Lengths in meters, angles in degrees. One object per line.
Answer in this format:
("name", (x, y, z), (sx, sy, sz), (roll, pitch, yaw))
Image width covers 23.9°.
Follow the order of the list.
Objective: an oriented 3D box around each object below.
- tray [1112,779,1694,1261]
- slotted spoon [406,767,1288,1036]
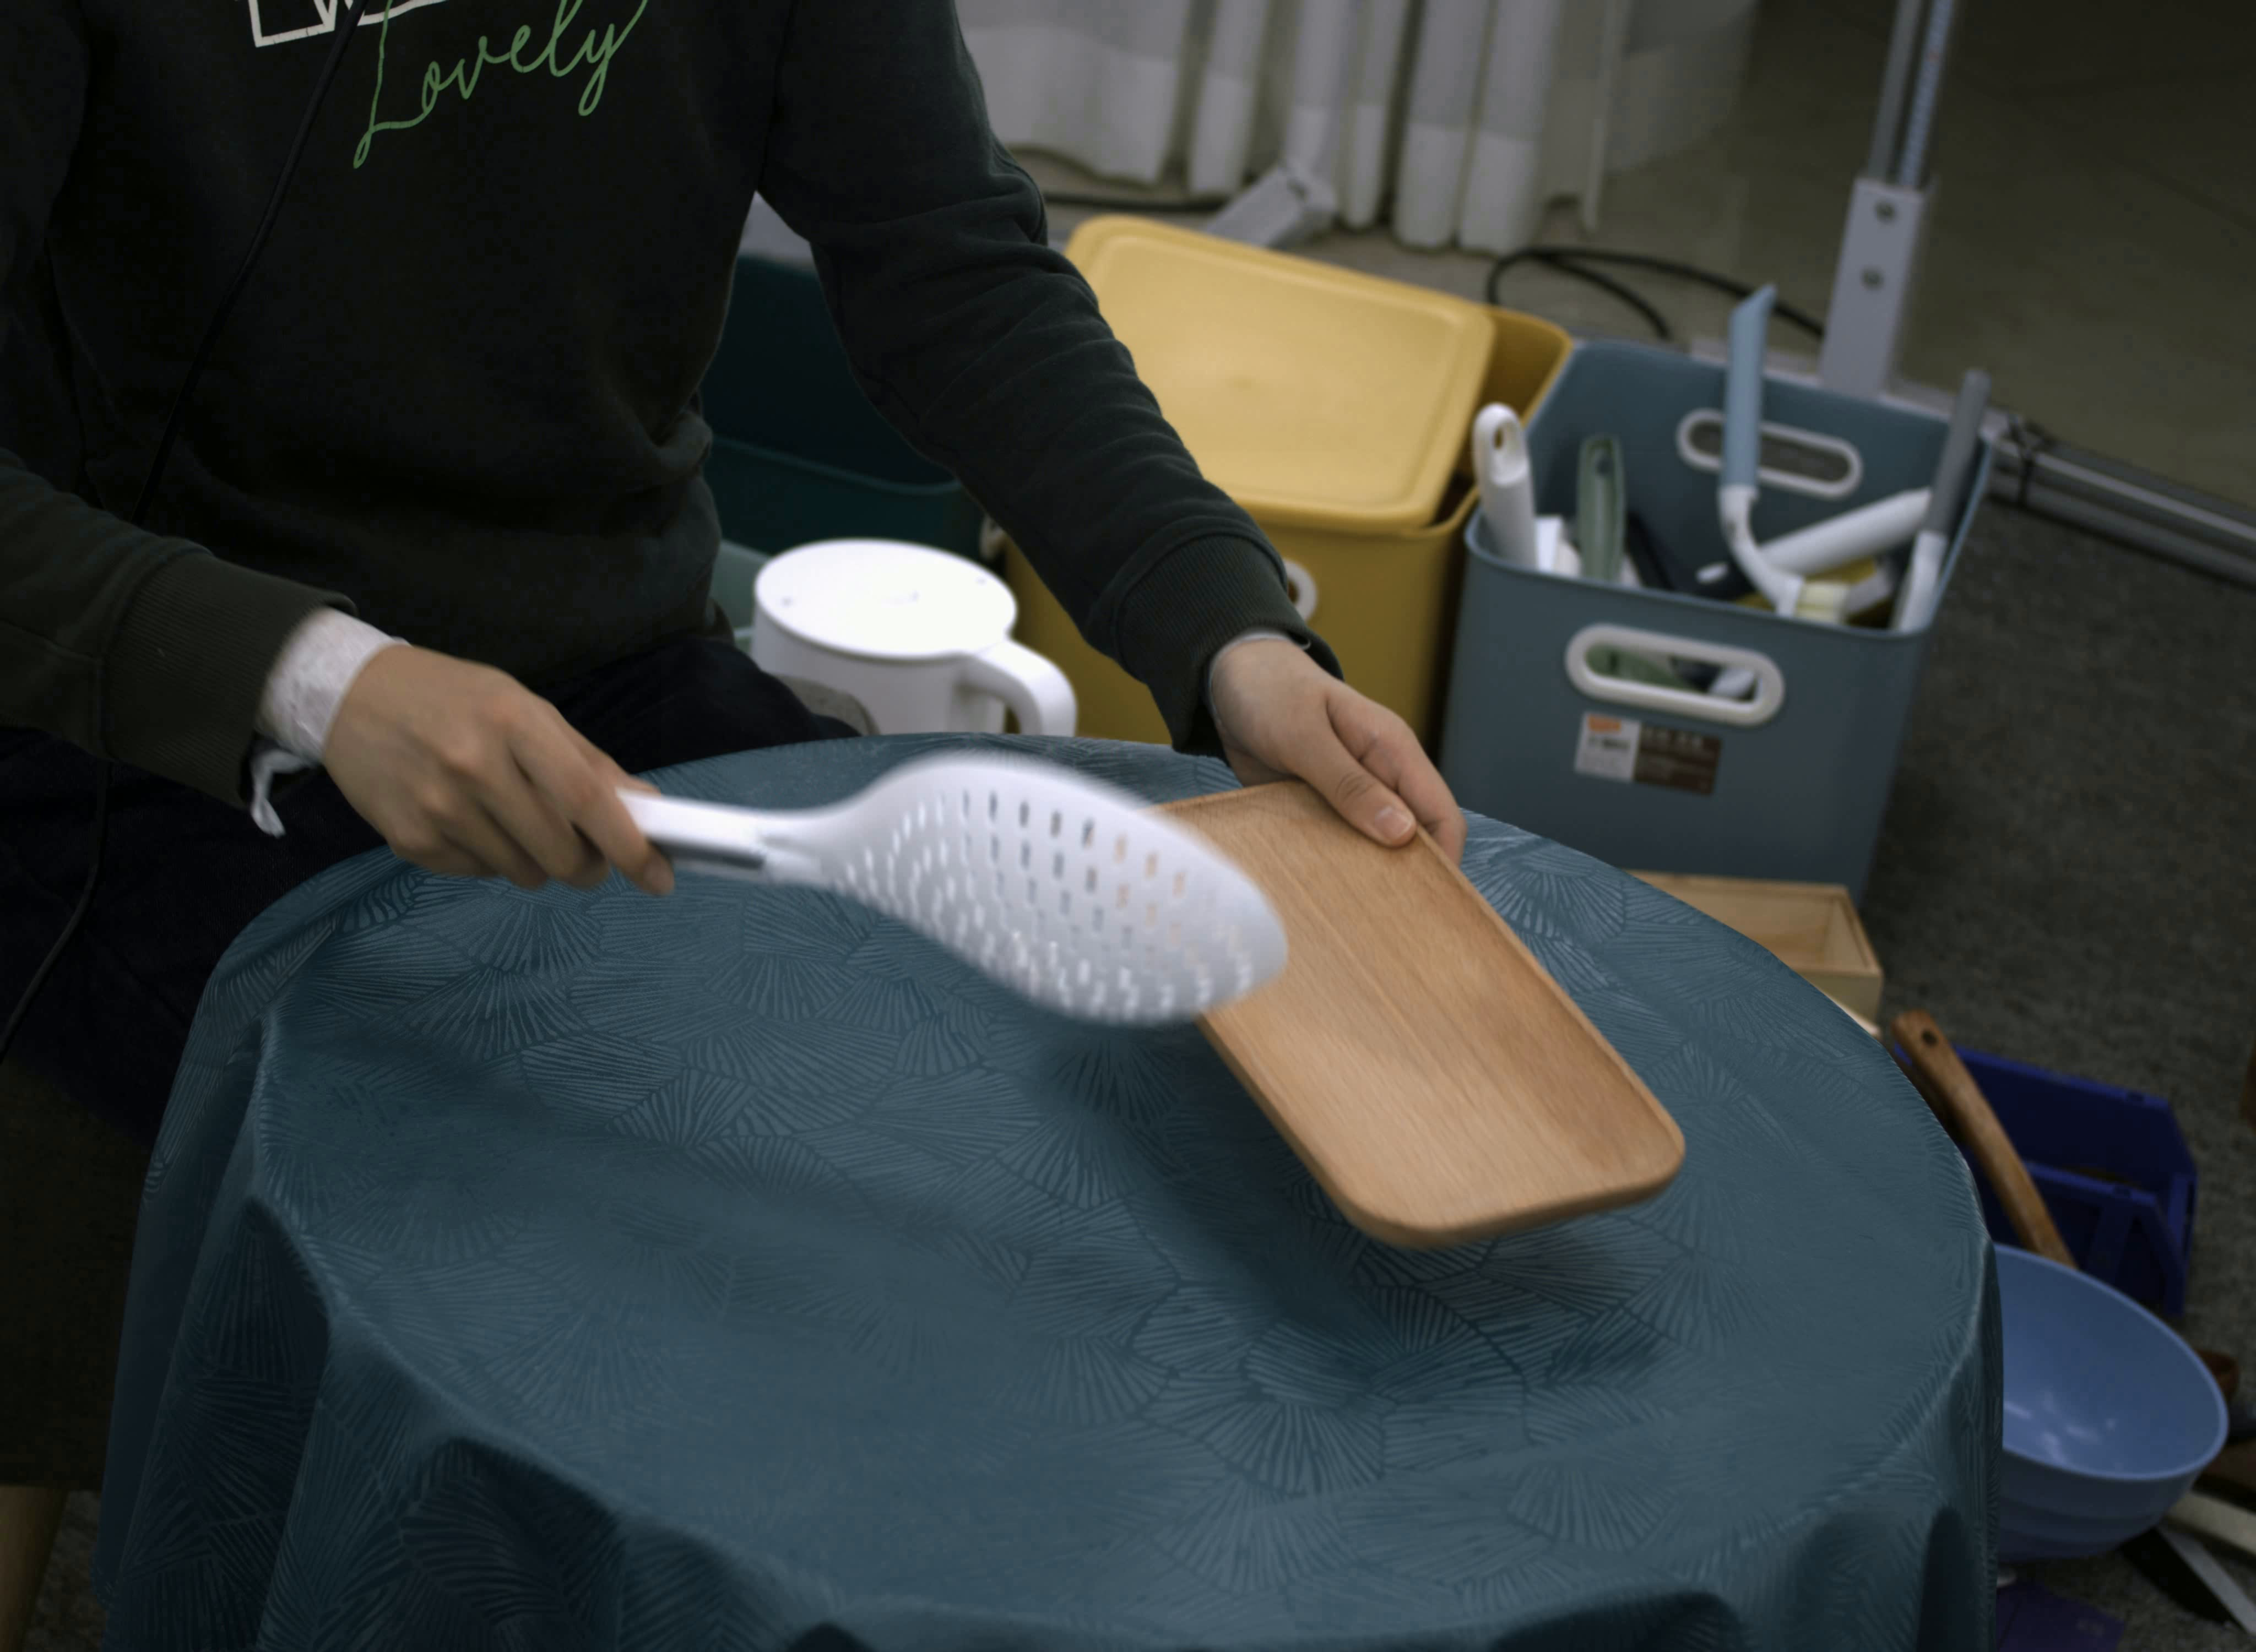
("tray", (0.085, 0.063, 1.822), (0.130, 0.023, 0.253), (-9, 36, -25))
("slotted spoon", (-0.103, 0.013, 1.735), (0.352, 0.135, 0.046), (14, 65, 37))
